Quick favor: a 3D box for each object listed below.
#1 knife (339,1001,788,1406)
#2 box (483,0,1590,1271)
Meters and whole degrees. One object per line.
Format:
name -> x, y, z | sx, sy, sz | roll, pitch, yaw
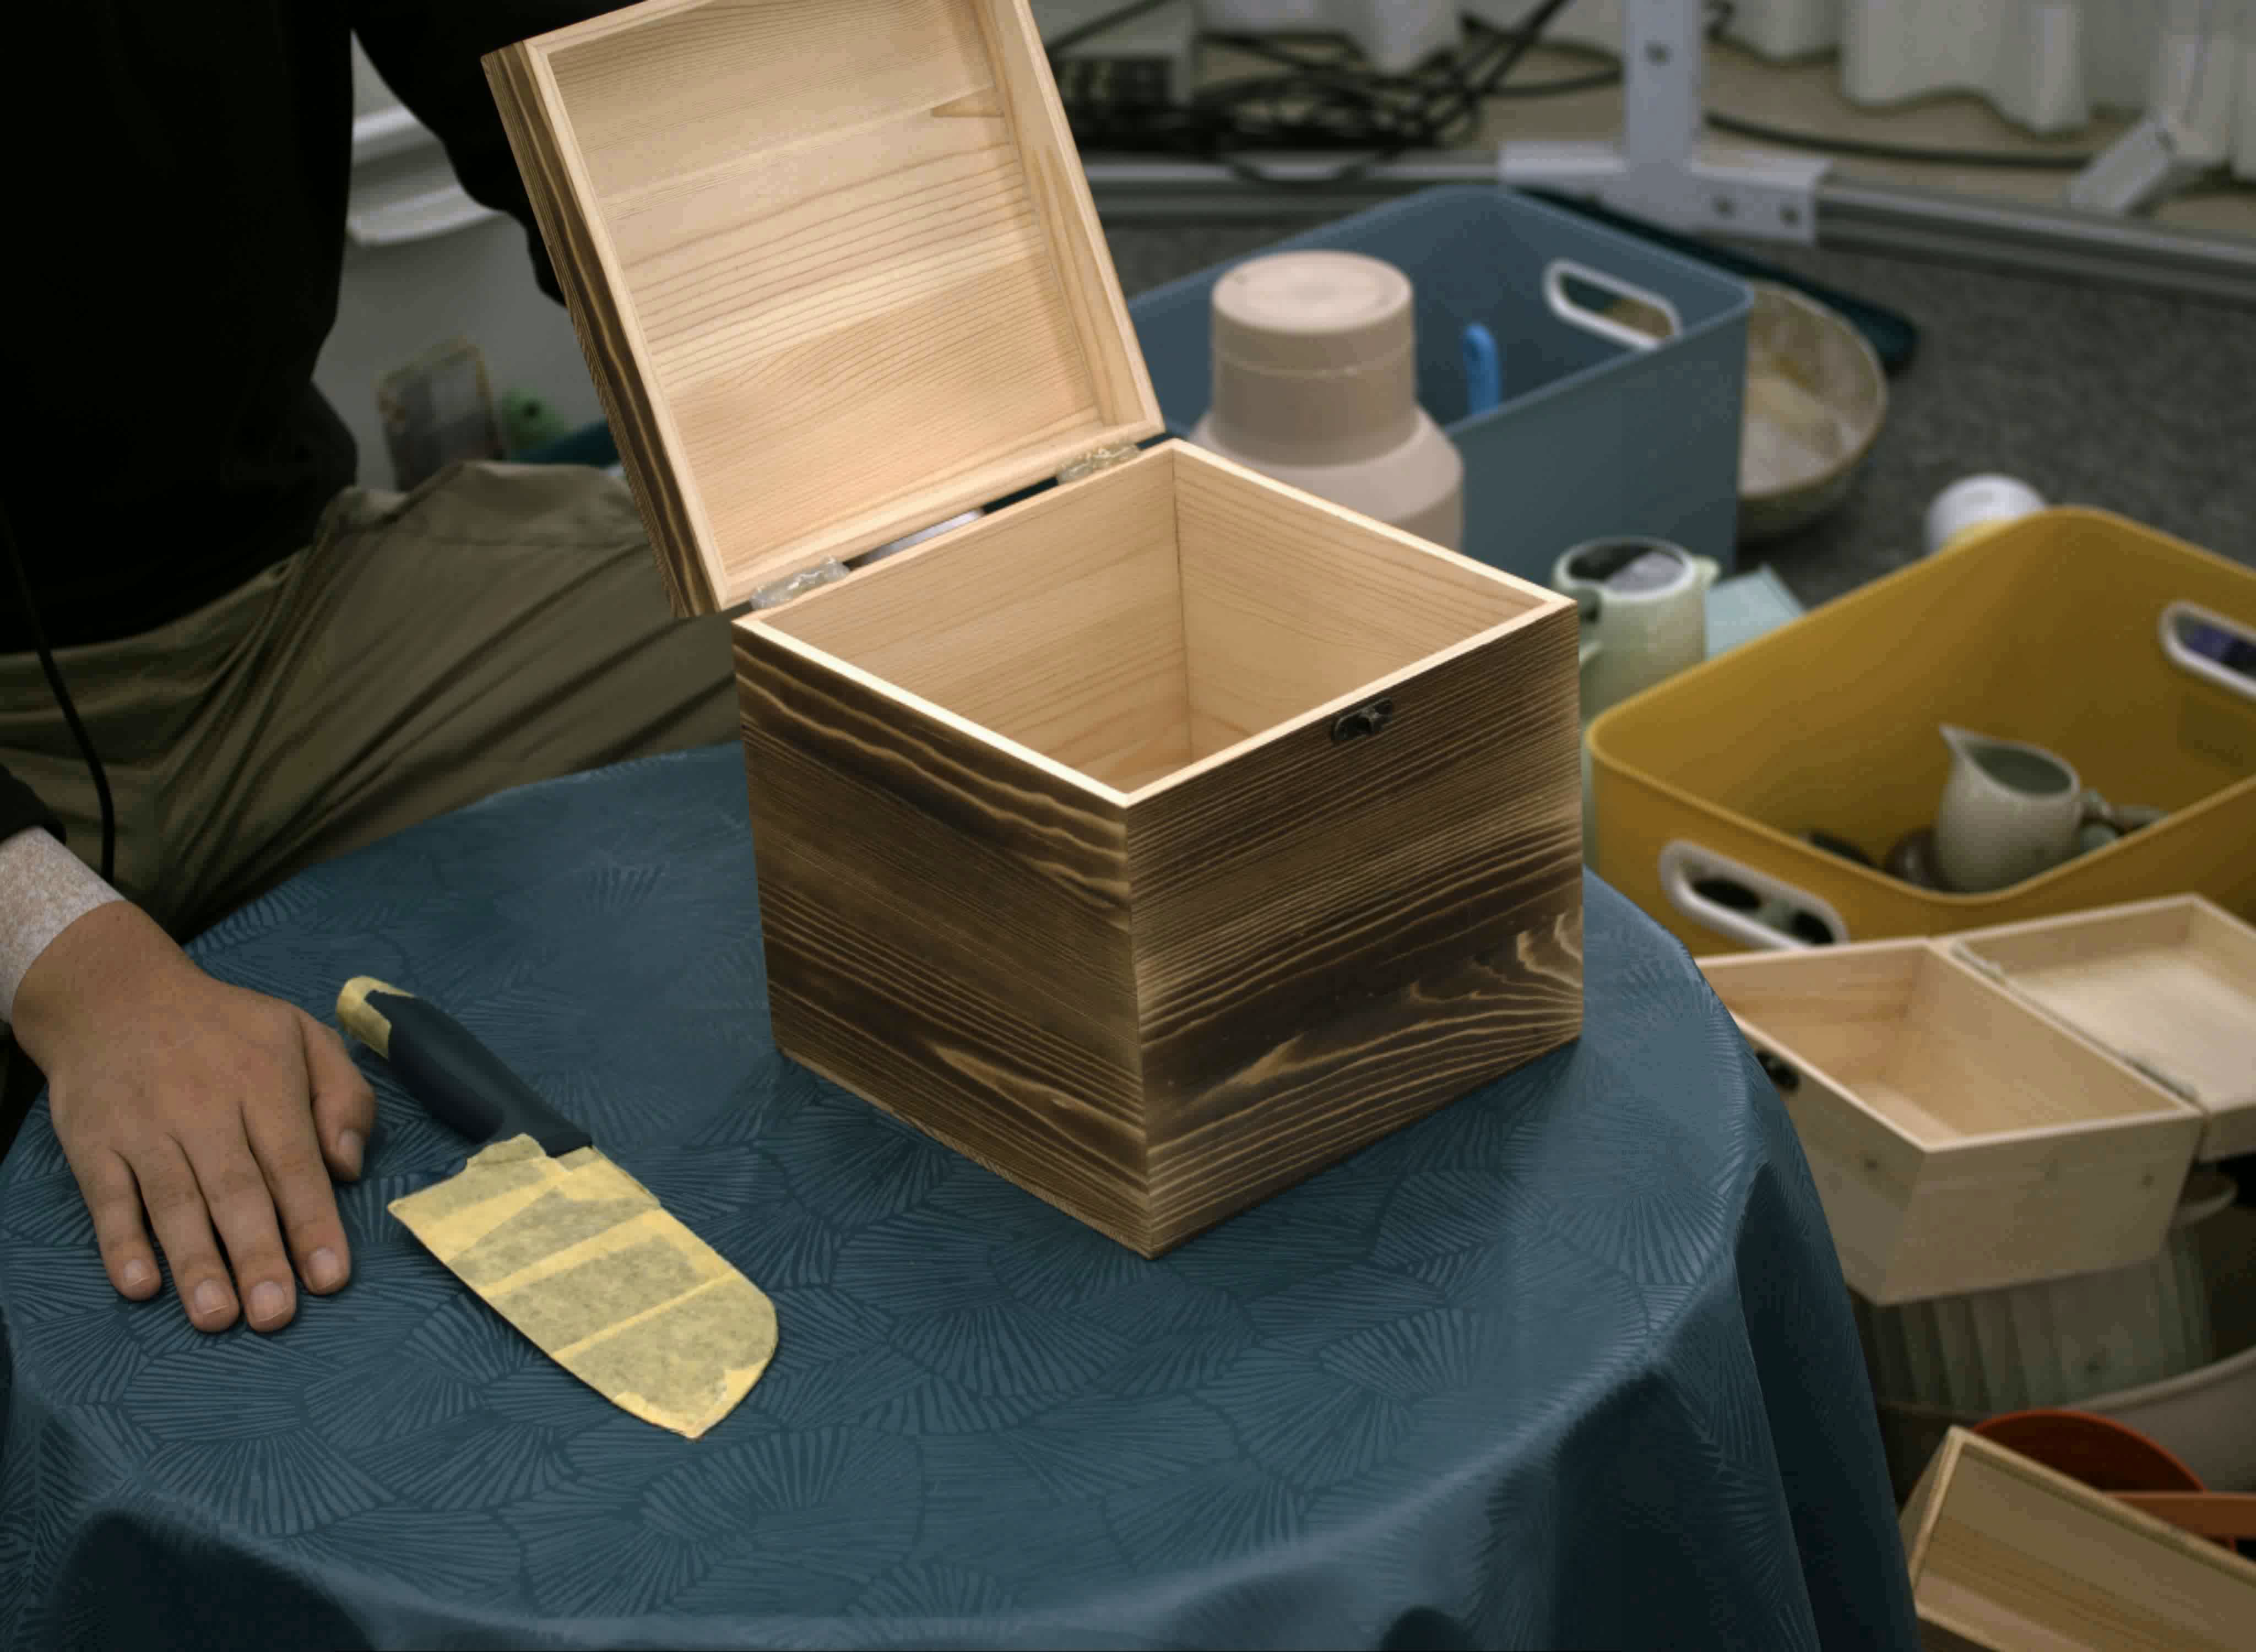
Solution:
knife -> -0.199, 0.126, 1.859 | 0.081, 0.027, 0.290 | -16, 31, -29
box -> -0.029, -0.098, 1.903 | 0.211, 0.371, 0.322 | -25, 33, -35
